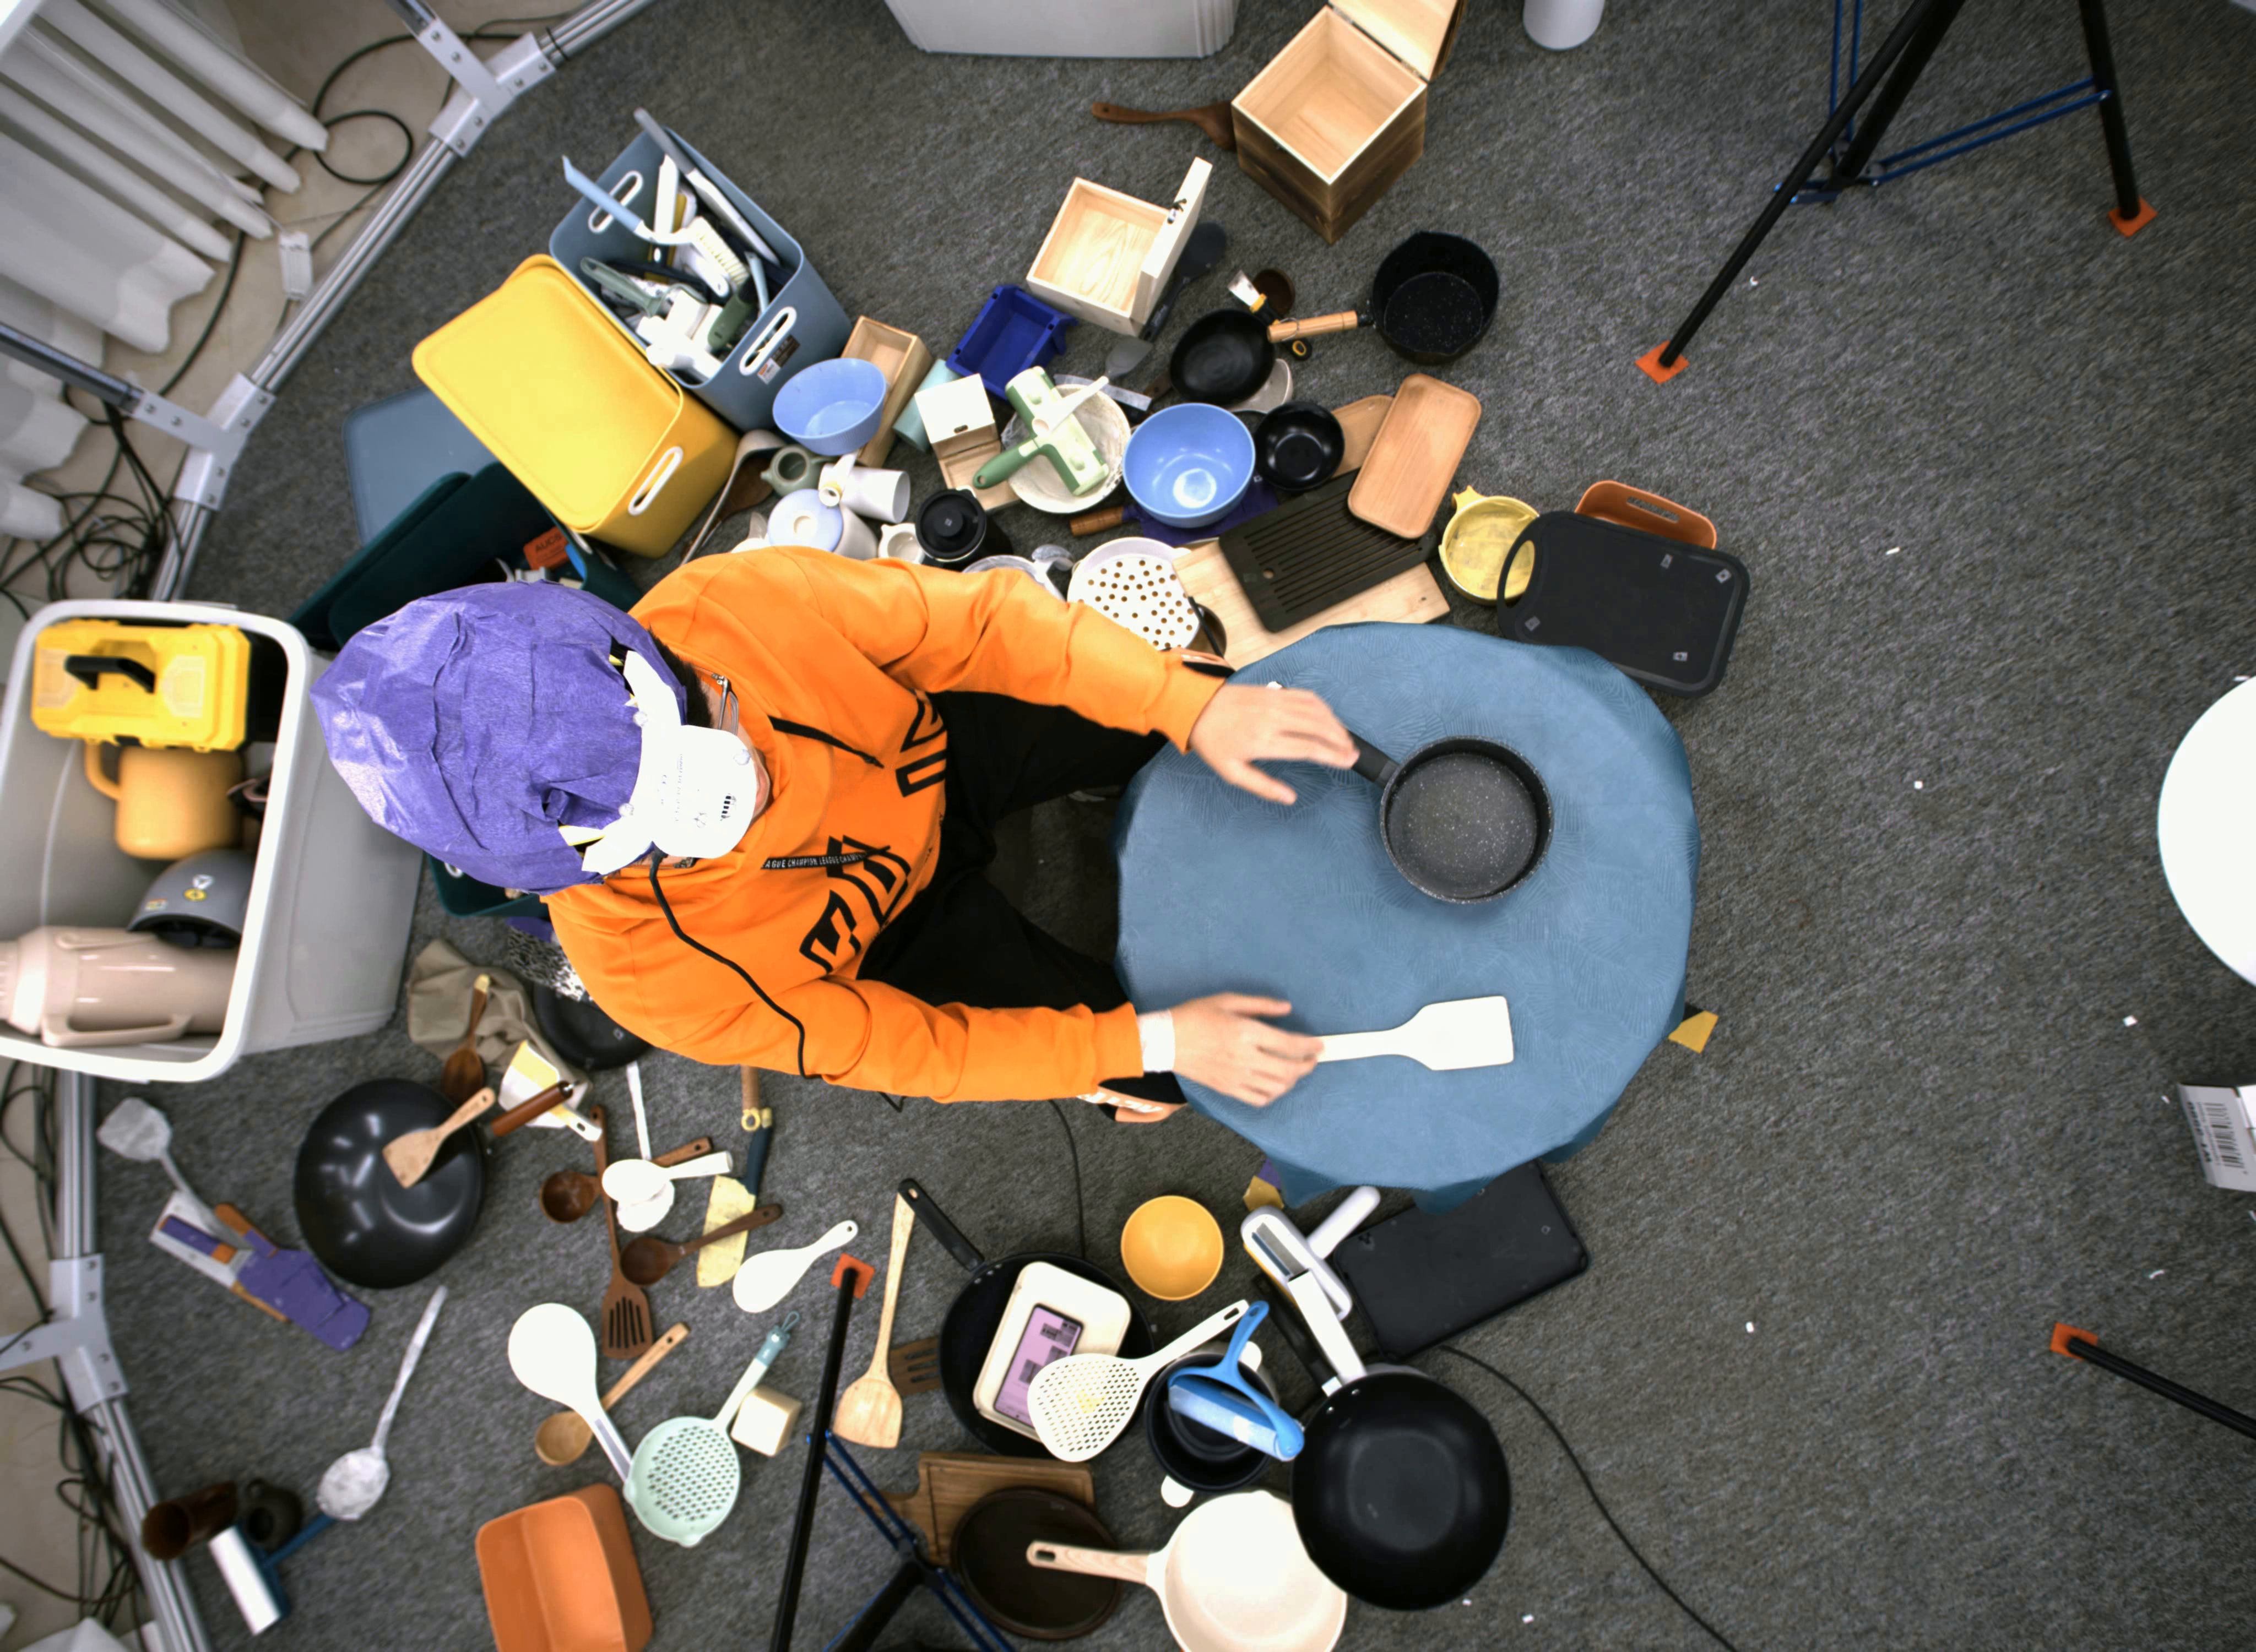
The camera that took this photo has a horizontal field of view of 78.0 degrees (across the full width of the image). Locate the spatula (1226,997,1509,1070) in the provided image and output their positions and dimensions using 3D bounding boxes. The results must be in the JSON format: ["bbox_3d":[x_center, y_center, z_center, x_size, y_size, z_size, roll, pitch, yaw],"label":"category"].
[{"bbox_3d":[0.248,0.228,1.451,0.294,0.010,0.072,-7,89,10],"label":"spatula"}]

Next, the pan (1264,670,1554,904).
[{"bbox_3d":[0.281,-0.051,1.422,0.328,0.086,0.172,36,92,9],"label":"pan"}]
